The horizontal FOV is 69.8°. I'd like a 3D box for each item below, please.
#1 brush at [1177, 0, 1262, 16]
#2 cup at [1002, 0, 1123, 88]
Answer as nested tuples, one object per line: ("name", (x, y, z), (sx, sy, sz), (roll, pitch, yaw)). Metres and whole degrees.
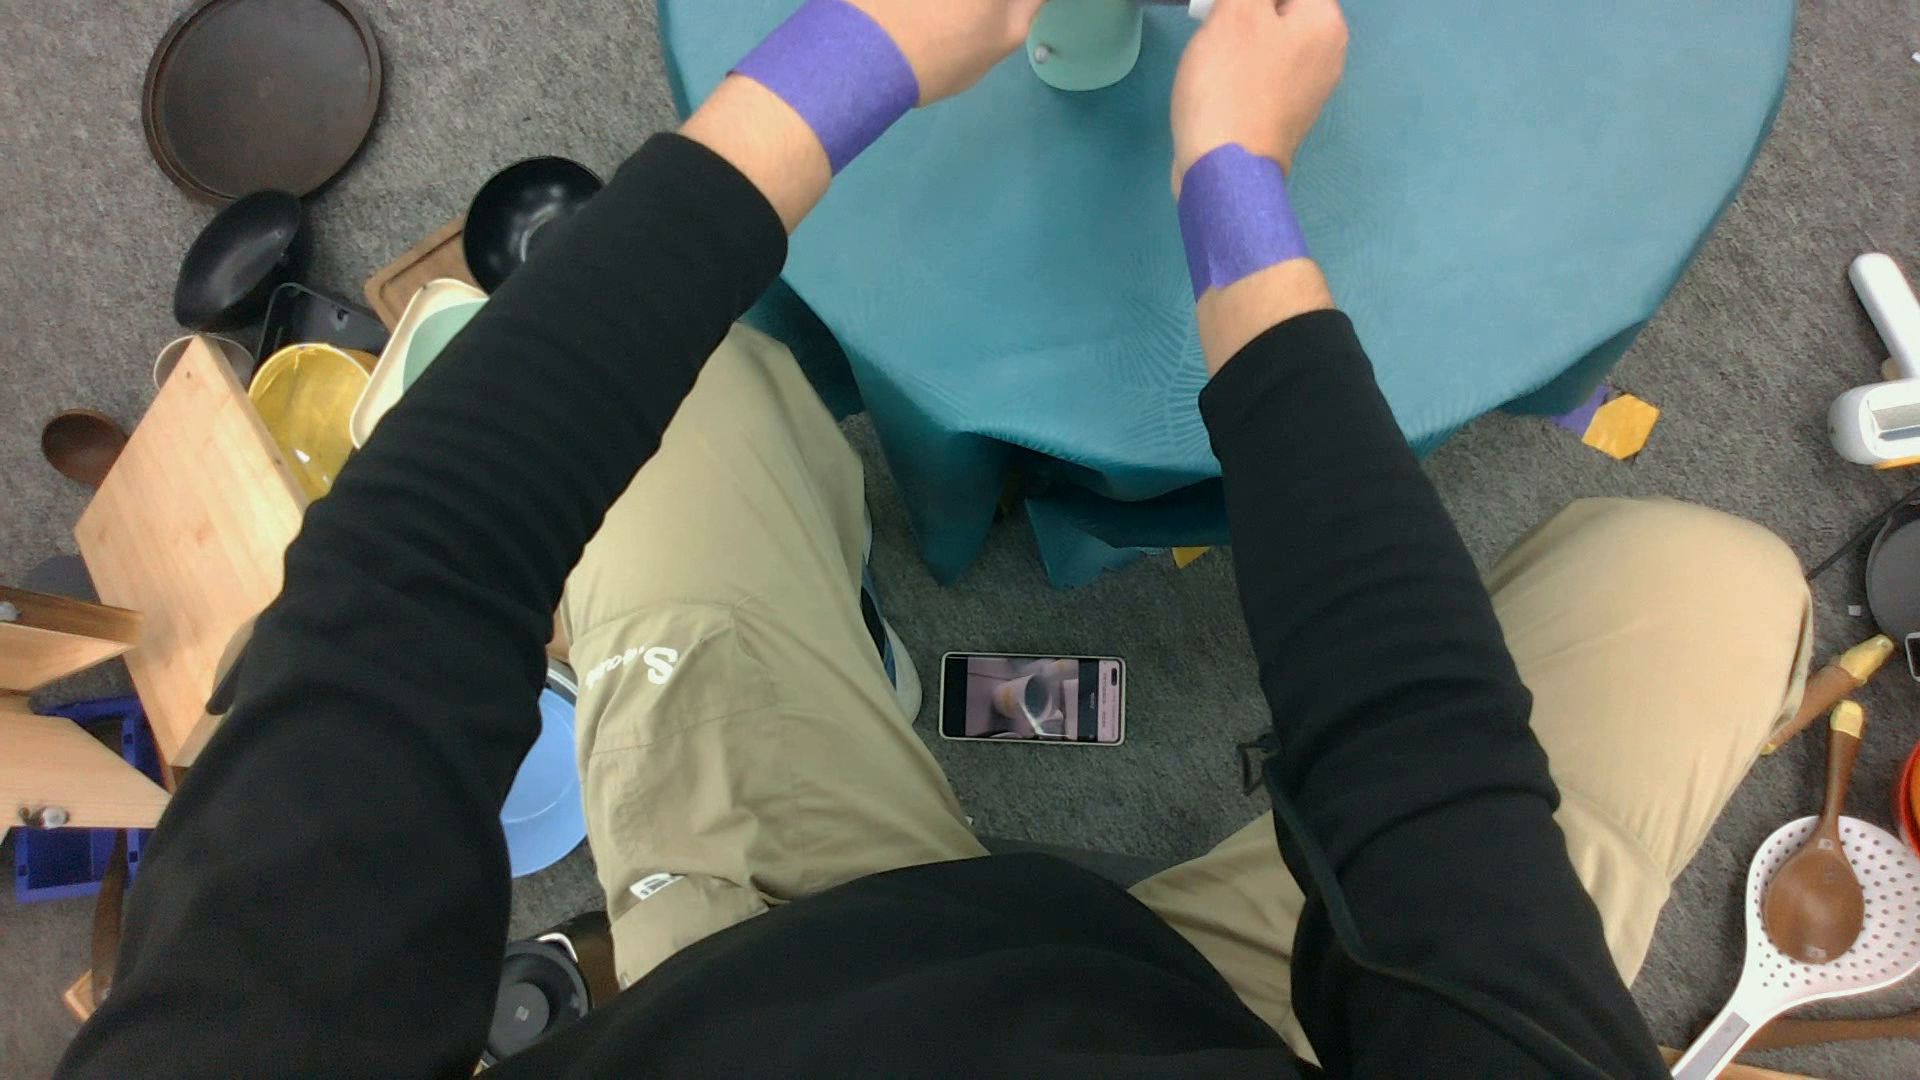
("brush", (0.123, -0.288, 0.636), (0.072, 0.050, 0.099), (18, 76, 4))
("cup", (0.052, -0.279, 0.673), (0.067, 0.132, 0.067), (-1, 83, 4))
